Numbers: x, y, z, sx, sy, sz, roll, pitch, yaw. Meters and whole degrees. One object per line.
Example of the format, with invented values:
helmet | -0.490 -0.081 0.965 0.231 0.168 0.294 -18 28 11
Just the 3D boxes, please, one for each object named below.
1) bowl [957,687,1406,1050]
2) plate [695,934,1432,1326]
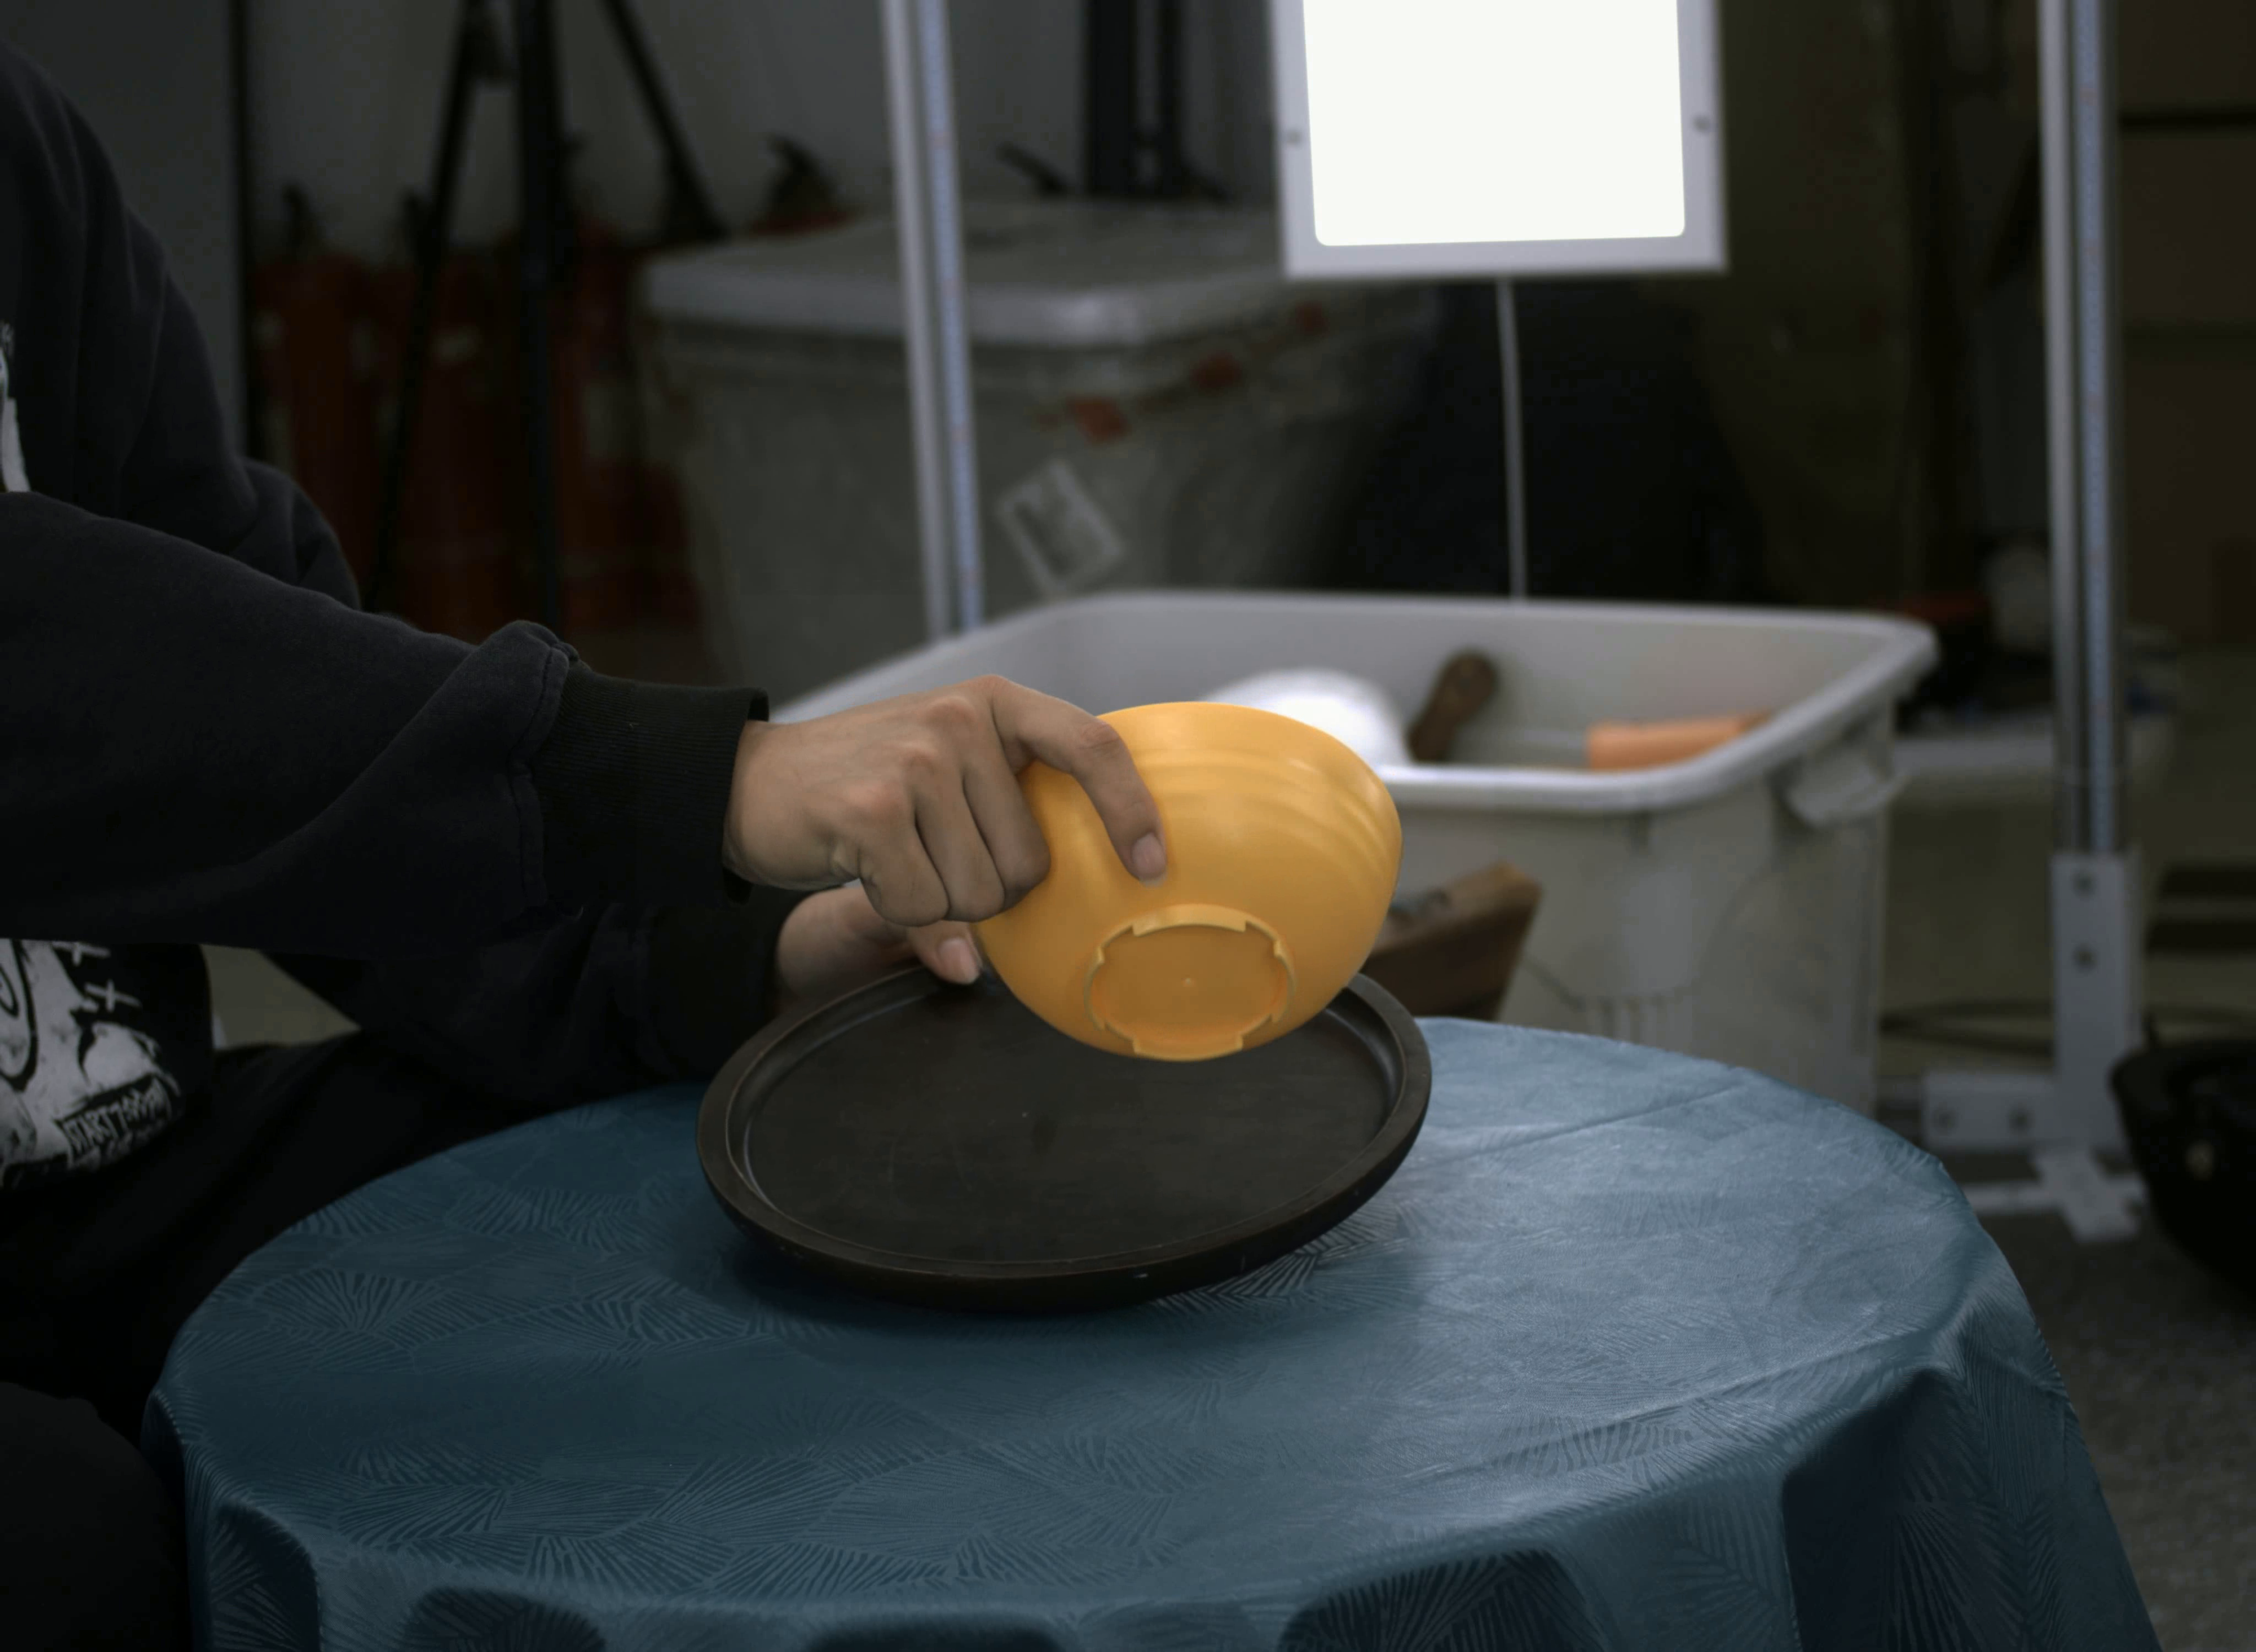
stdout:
bowl | 0.018 0.027 1.738 0.145 0.146 0.060 -3 47 3
plate | -0.021 0.099 1.879 0.254 0.029 0.254 -7 27 2
